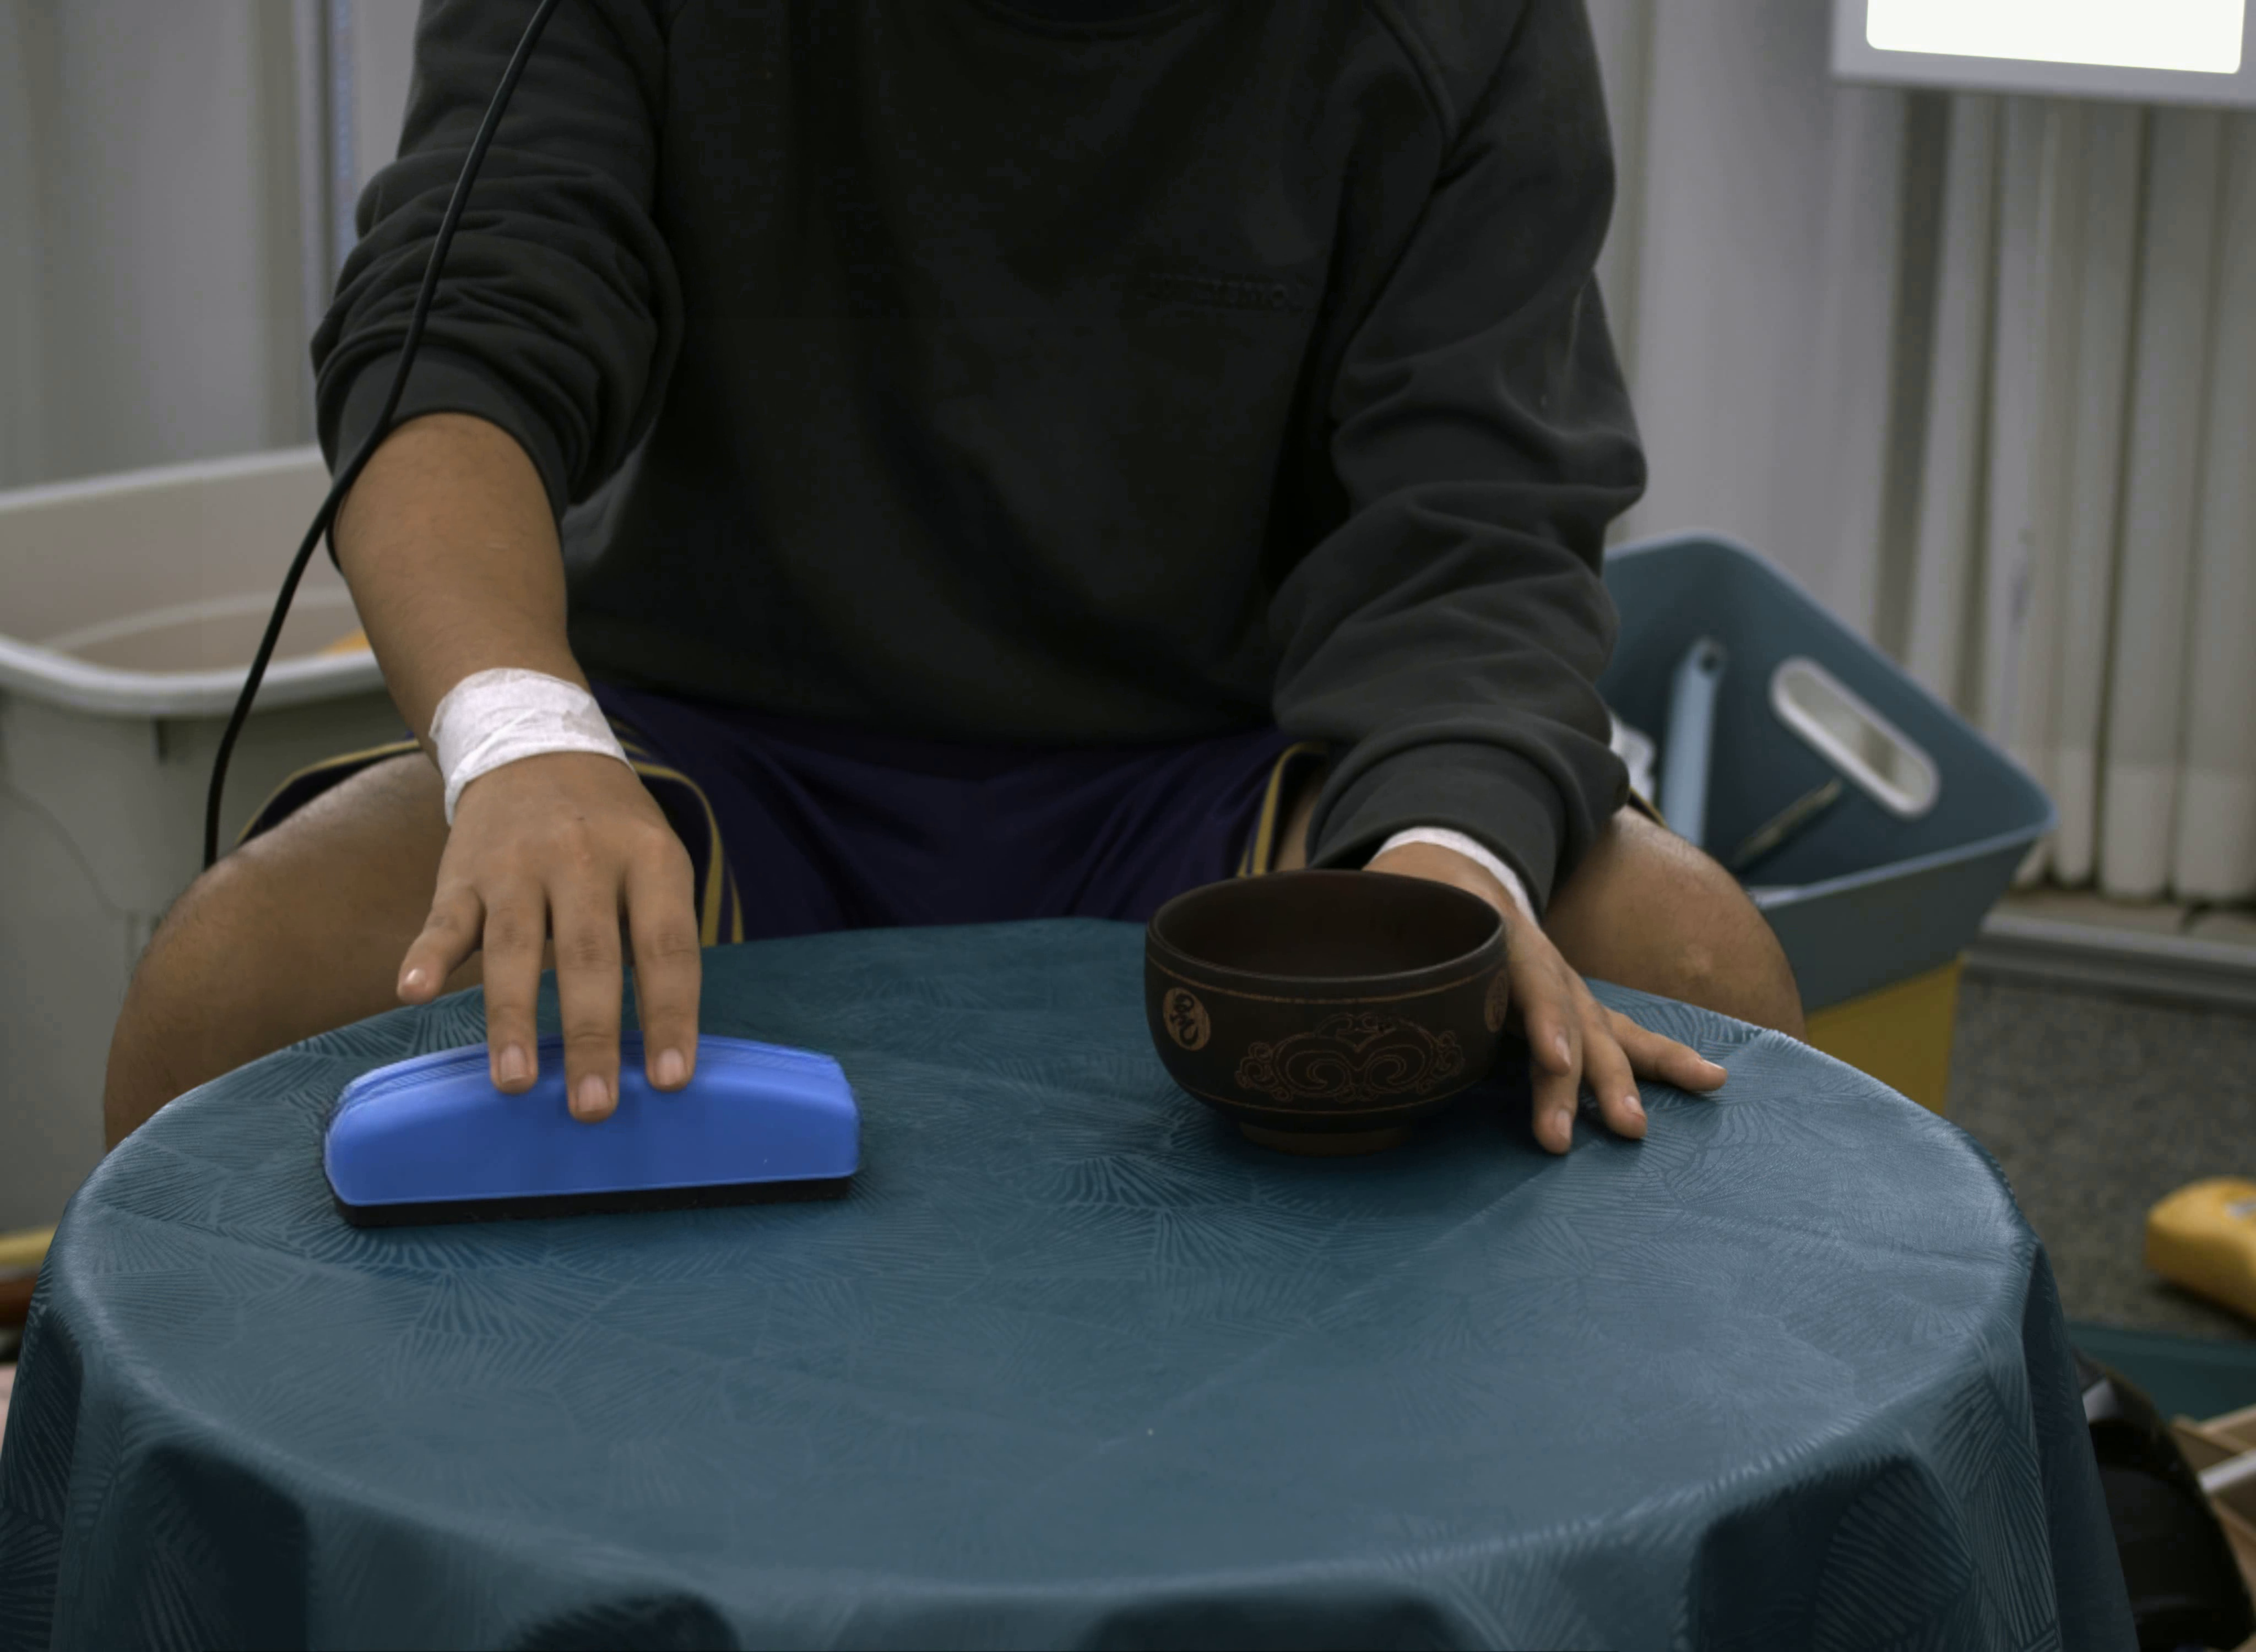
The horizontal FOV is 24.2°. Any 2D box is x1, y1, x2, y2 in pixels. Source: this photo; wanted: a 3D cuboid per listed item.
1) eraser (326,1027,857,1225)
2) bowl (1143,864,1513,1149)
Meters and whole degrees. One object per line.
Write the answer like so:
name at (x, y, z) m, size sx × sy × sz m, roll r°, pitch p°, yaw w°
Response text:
eraser at (-0.164, 0.089, 1.613) m, size 0.162 × 0.048 × 0.053 m, roll -3°, pitch 19°, yaw -13°
bowl at (0.064, 0.061, 1.670) m, size 0.117 × 0.070 × 0.117 m, roll -1°, pitch 16°, yaw 1°
